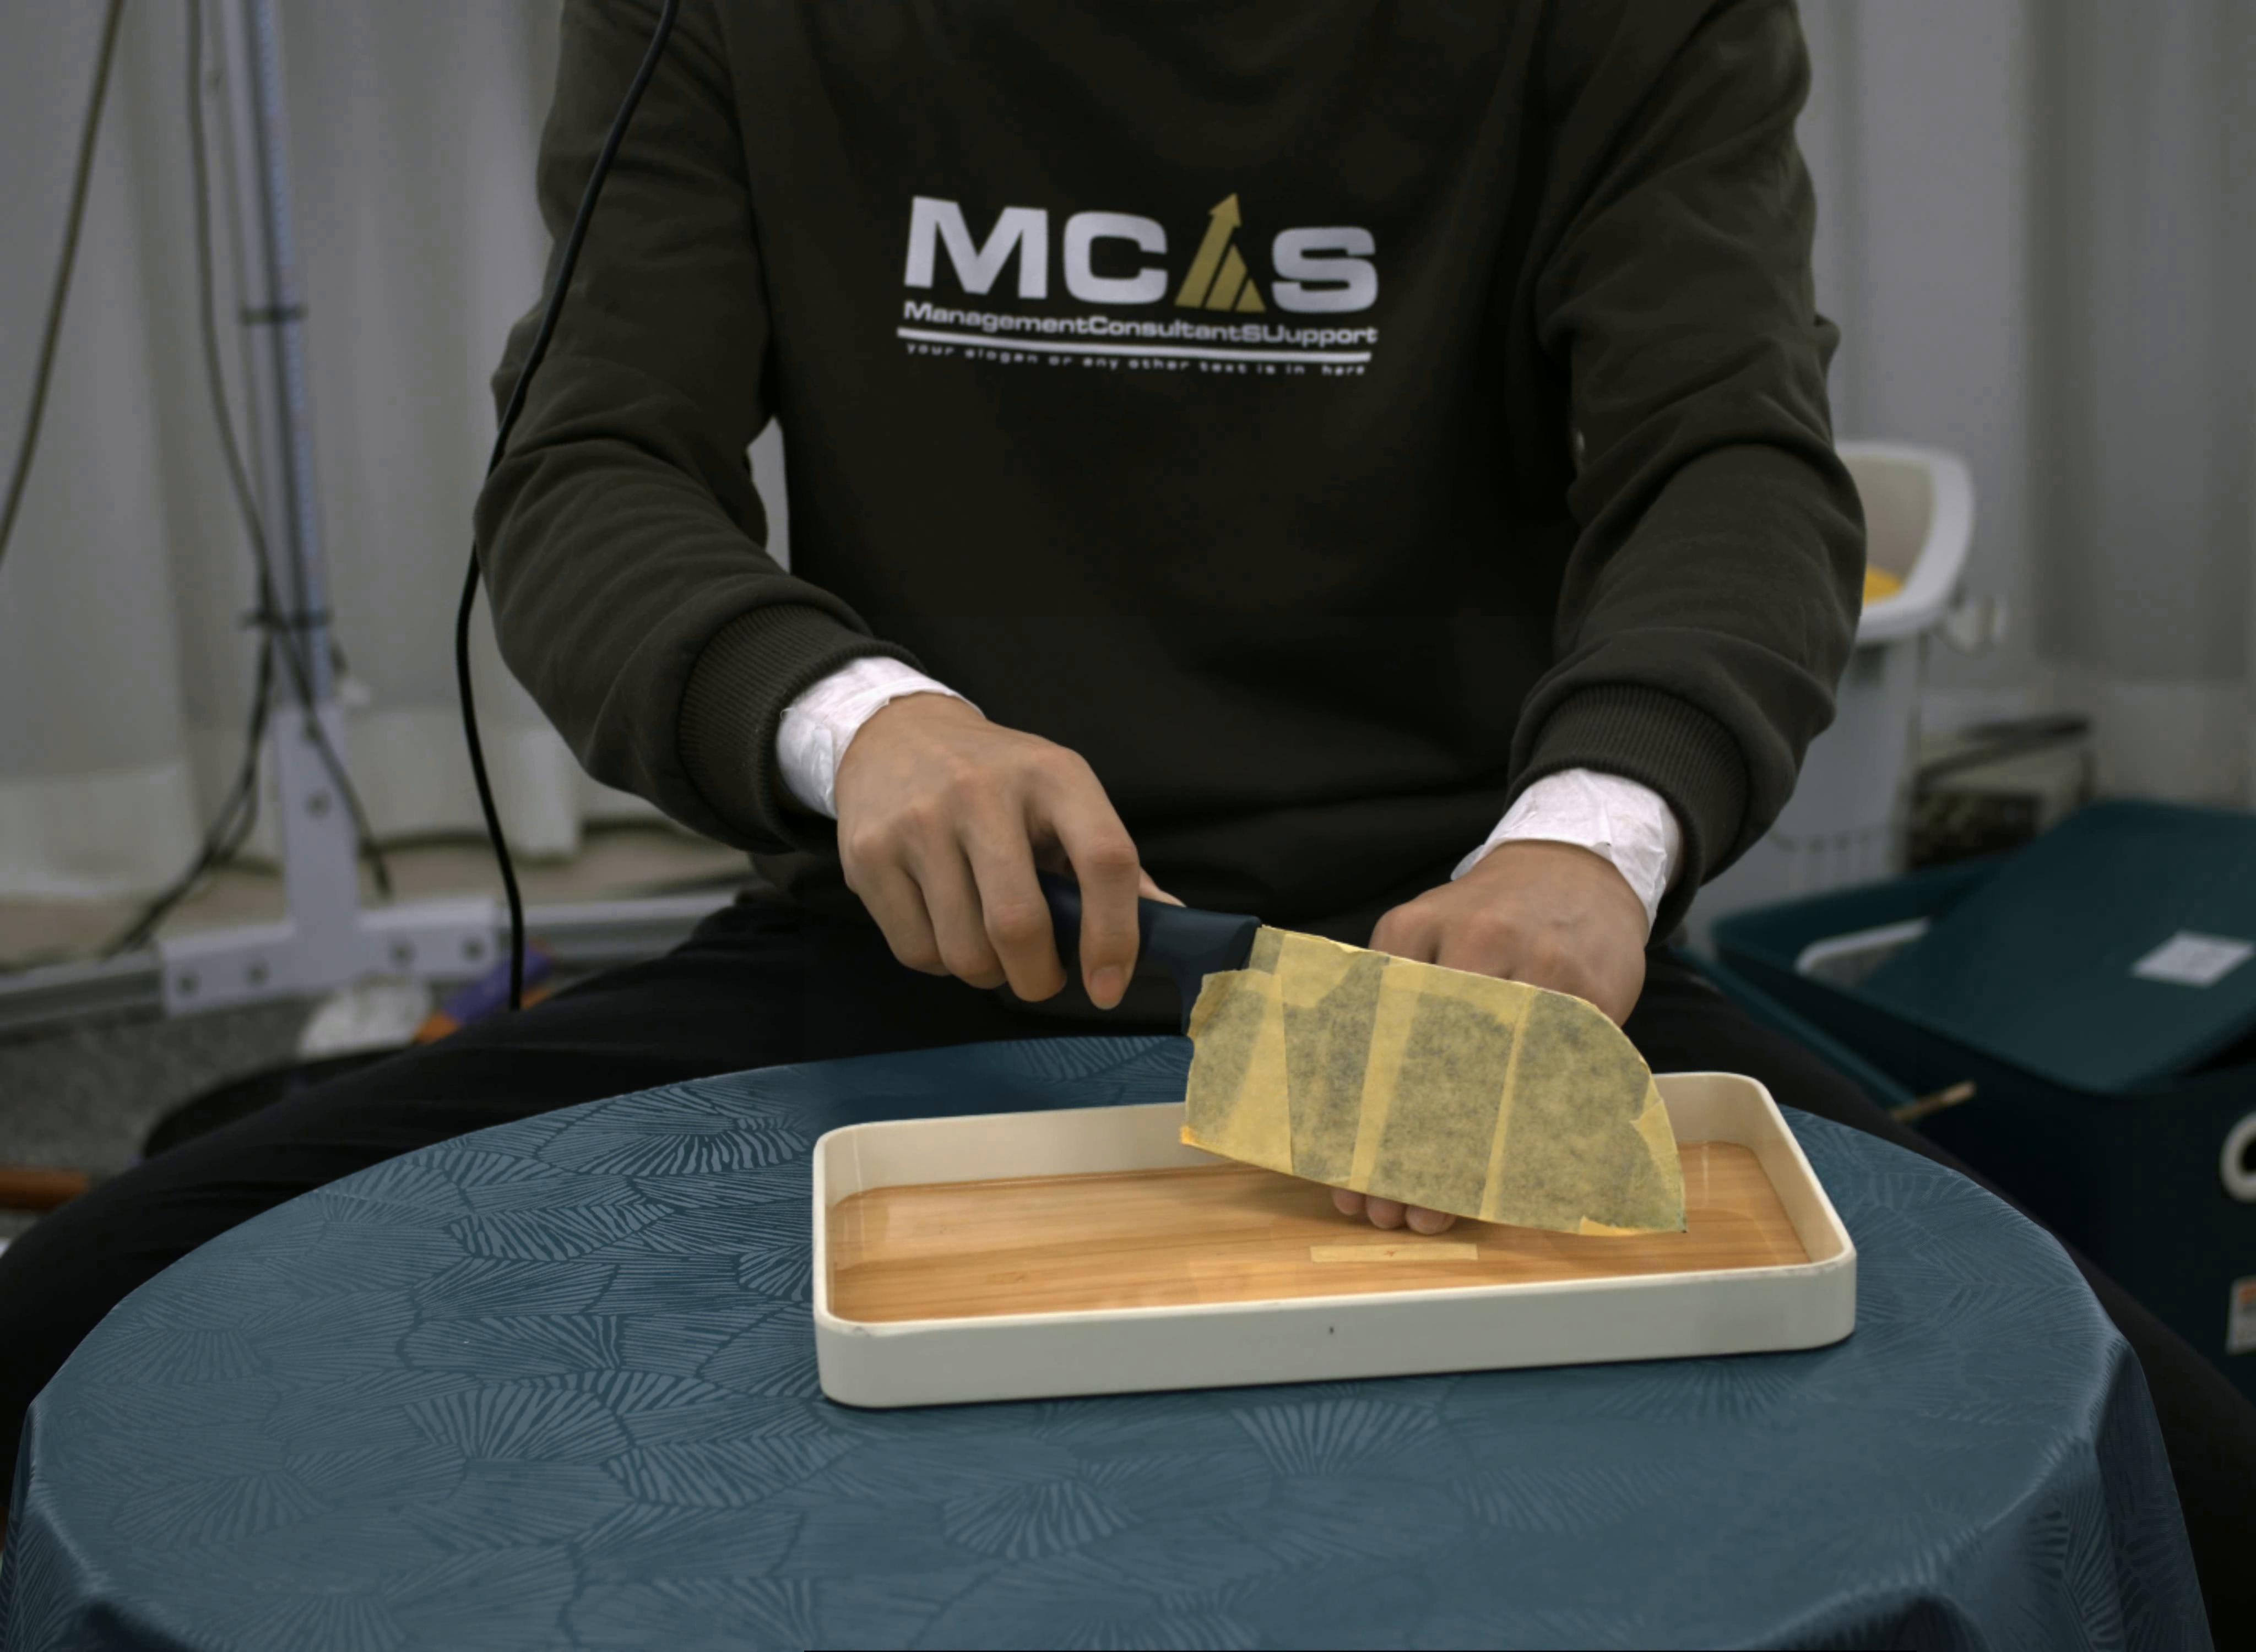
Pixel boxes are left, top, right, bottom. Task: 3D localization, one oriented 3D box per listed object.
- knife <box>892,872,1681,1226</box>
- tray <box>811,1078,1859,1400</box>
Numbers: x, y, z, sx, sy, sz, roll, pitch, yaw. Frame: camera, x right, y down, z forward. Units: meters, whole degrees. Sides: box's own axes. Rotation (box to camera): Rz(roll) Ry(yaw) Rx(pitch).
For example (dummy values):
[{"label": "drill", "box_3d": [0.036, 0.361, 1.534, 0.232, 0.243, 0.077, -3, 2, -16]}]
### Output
[{"label": "knife", "box_3d": [0.043, 0.065, 1.668, 0.291, 0.081, 0.027, 16, 1, 33]}, {"label": "tray", "box_3d": [0.056, 0.121, 1.631, 0.299, 0.027, 0.193, -3, 14, -2]}]
